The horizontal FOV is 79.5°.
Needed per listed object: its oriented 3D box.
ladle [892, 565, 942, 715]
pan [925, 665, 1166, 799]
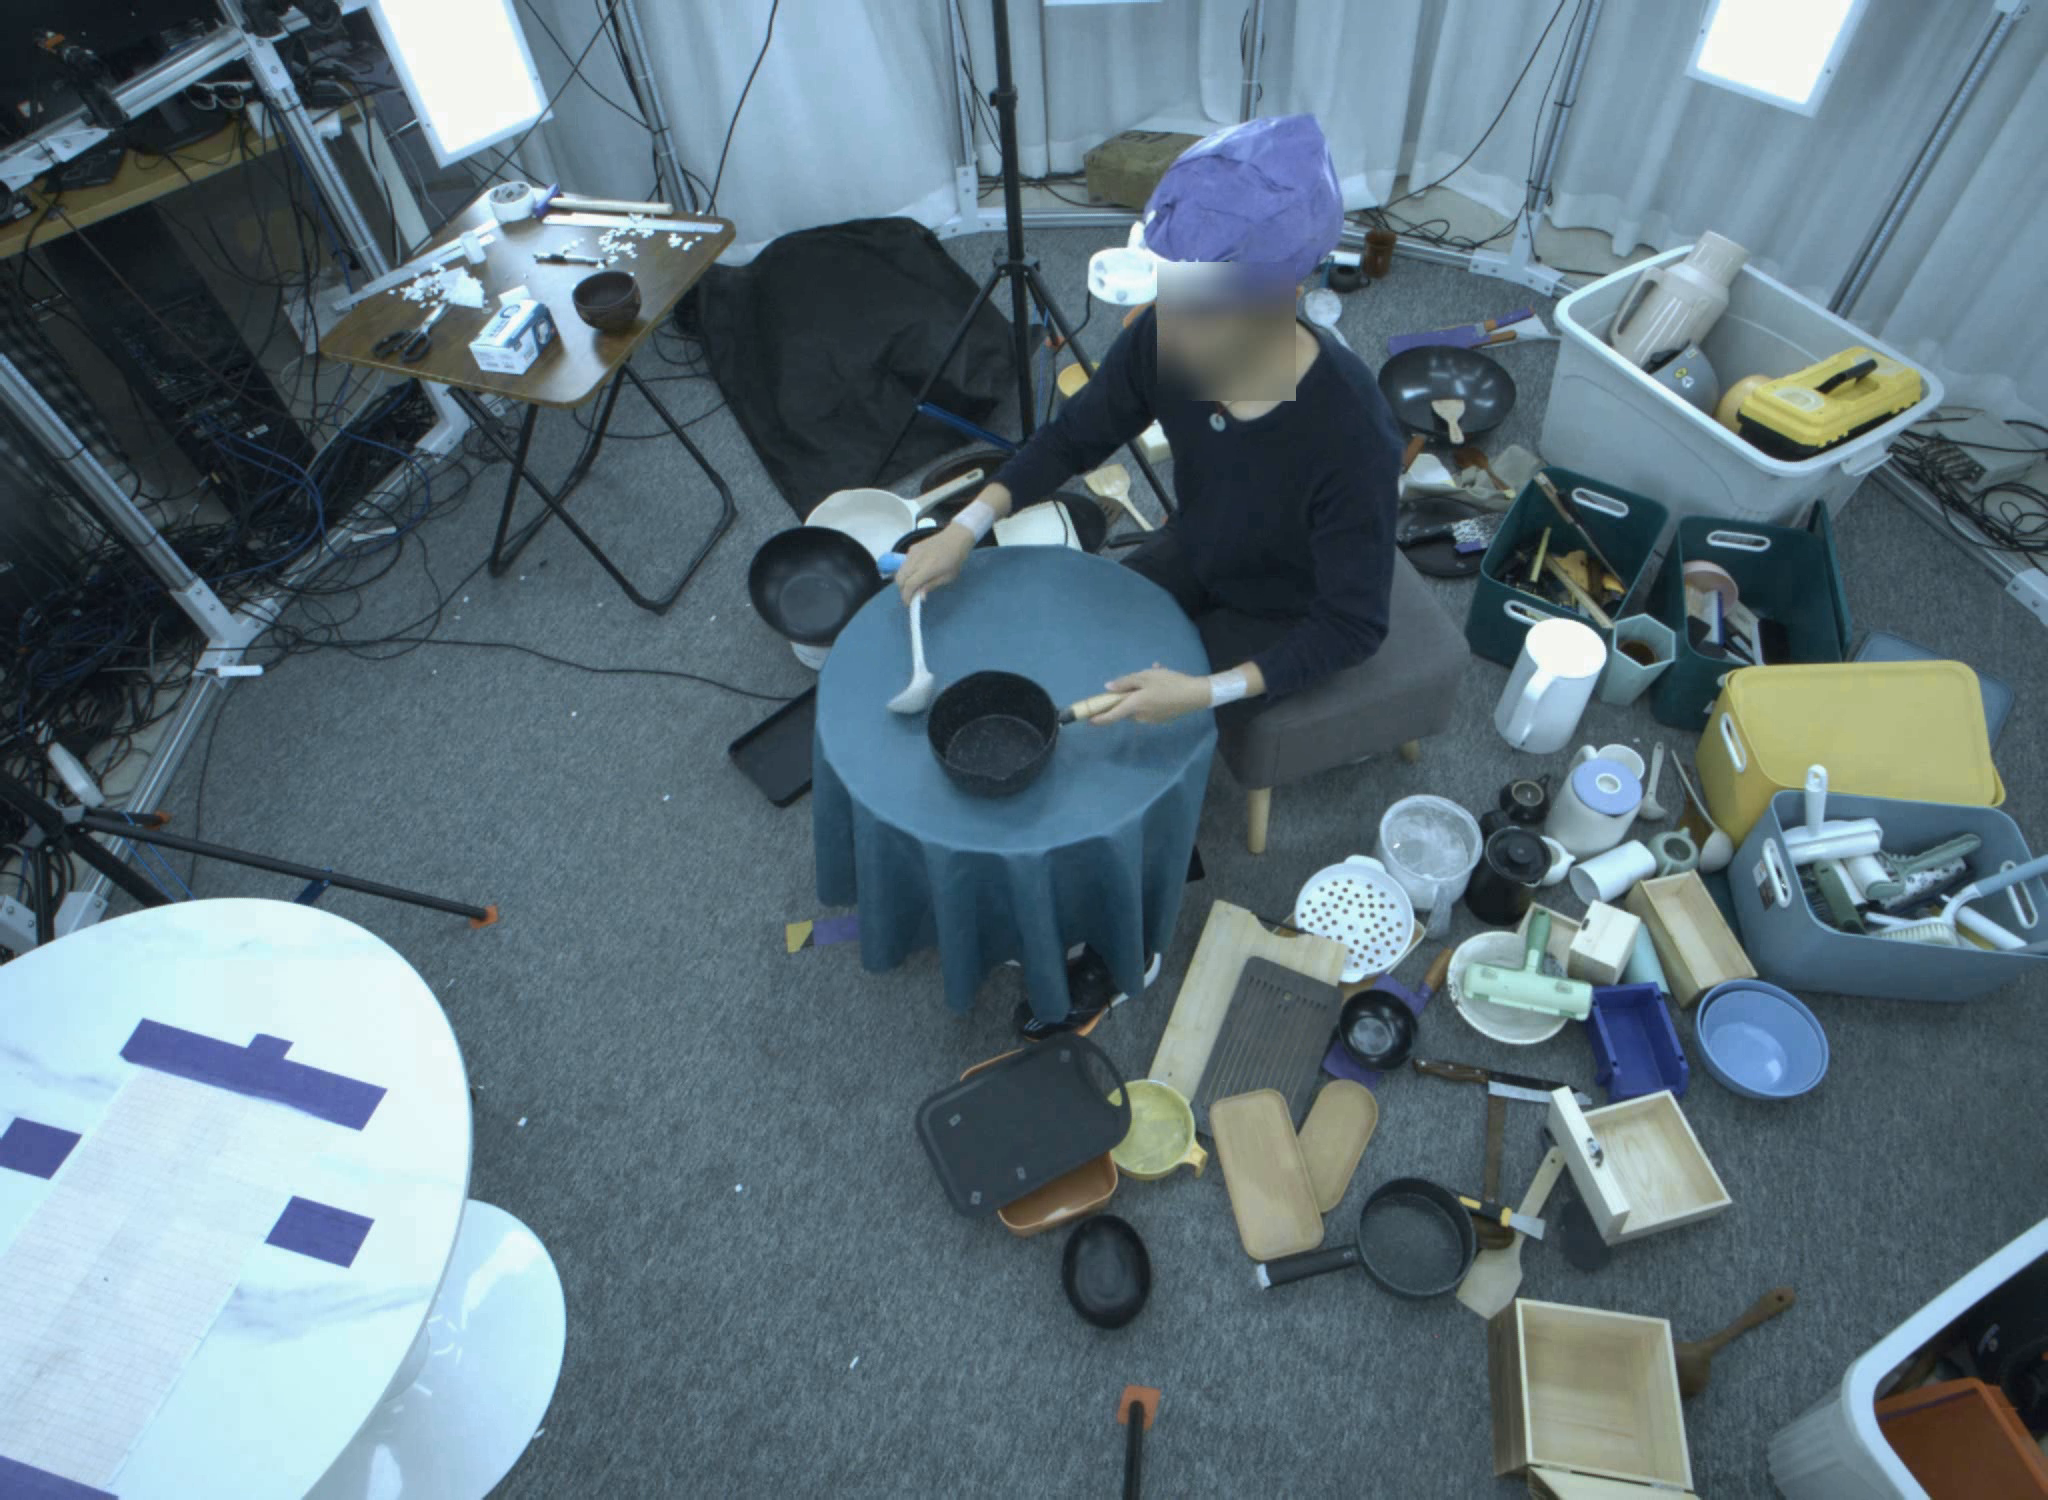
[{"bbox_3d":[-0.177,-0.178,1.854,0.071,0.088,0.271,15,54,-43],"label":"ladle"},{"bbox_3d":[0.034,-0.038,1.746,0.344,0.109,0.204,-12,54,-4],"label":"pan"}]
